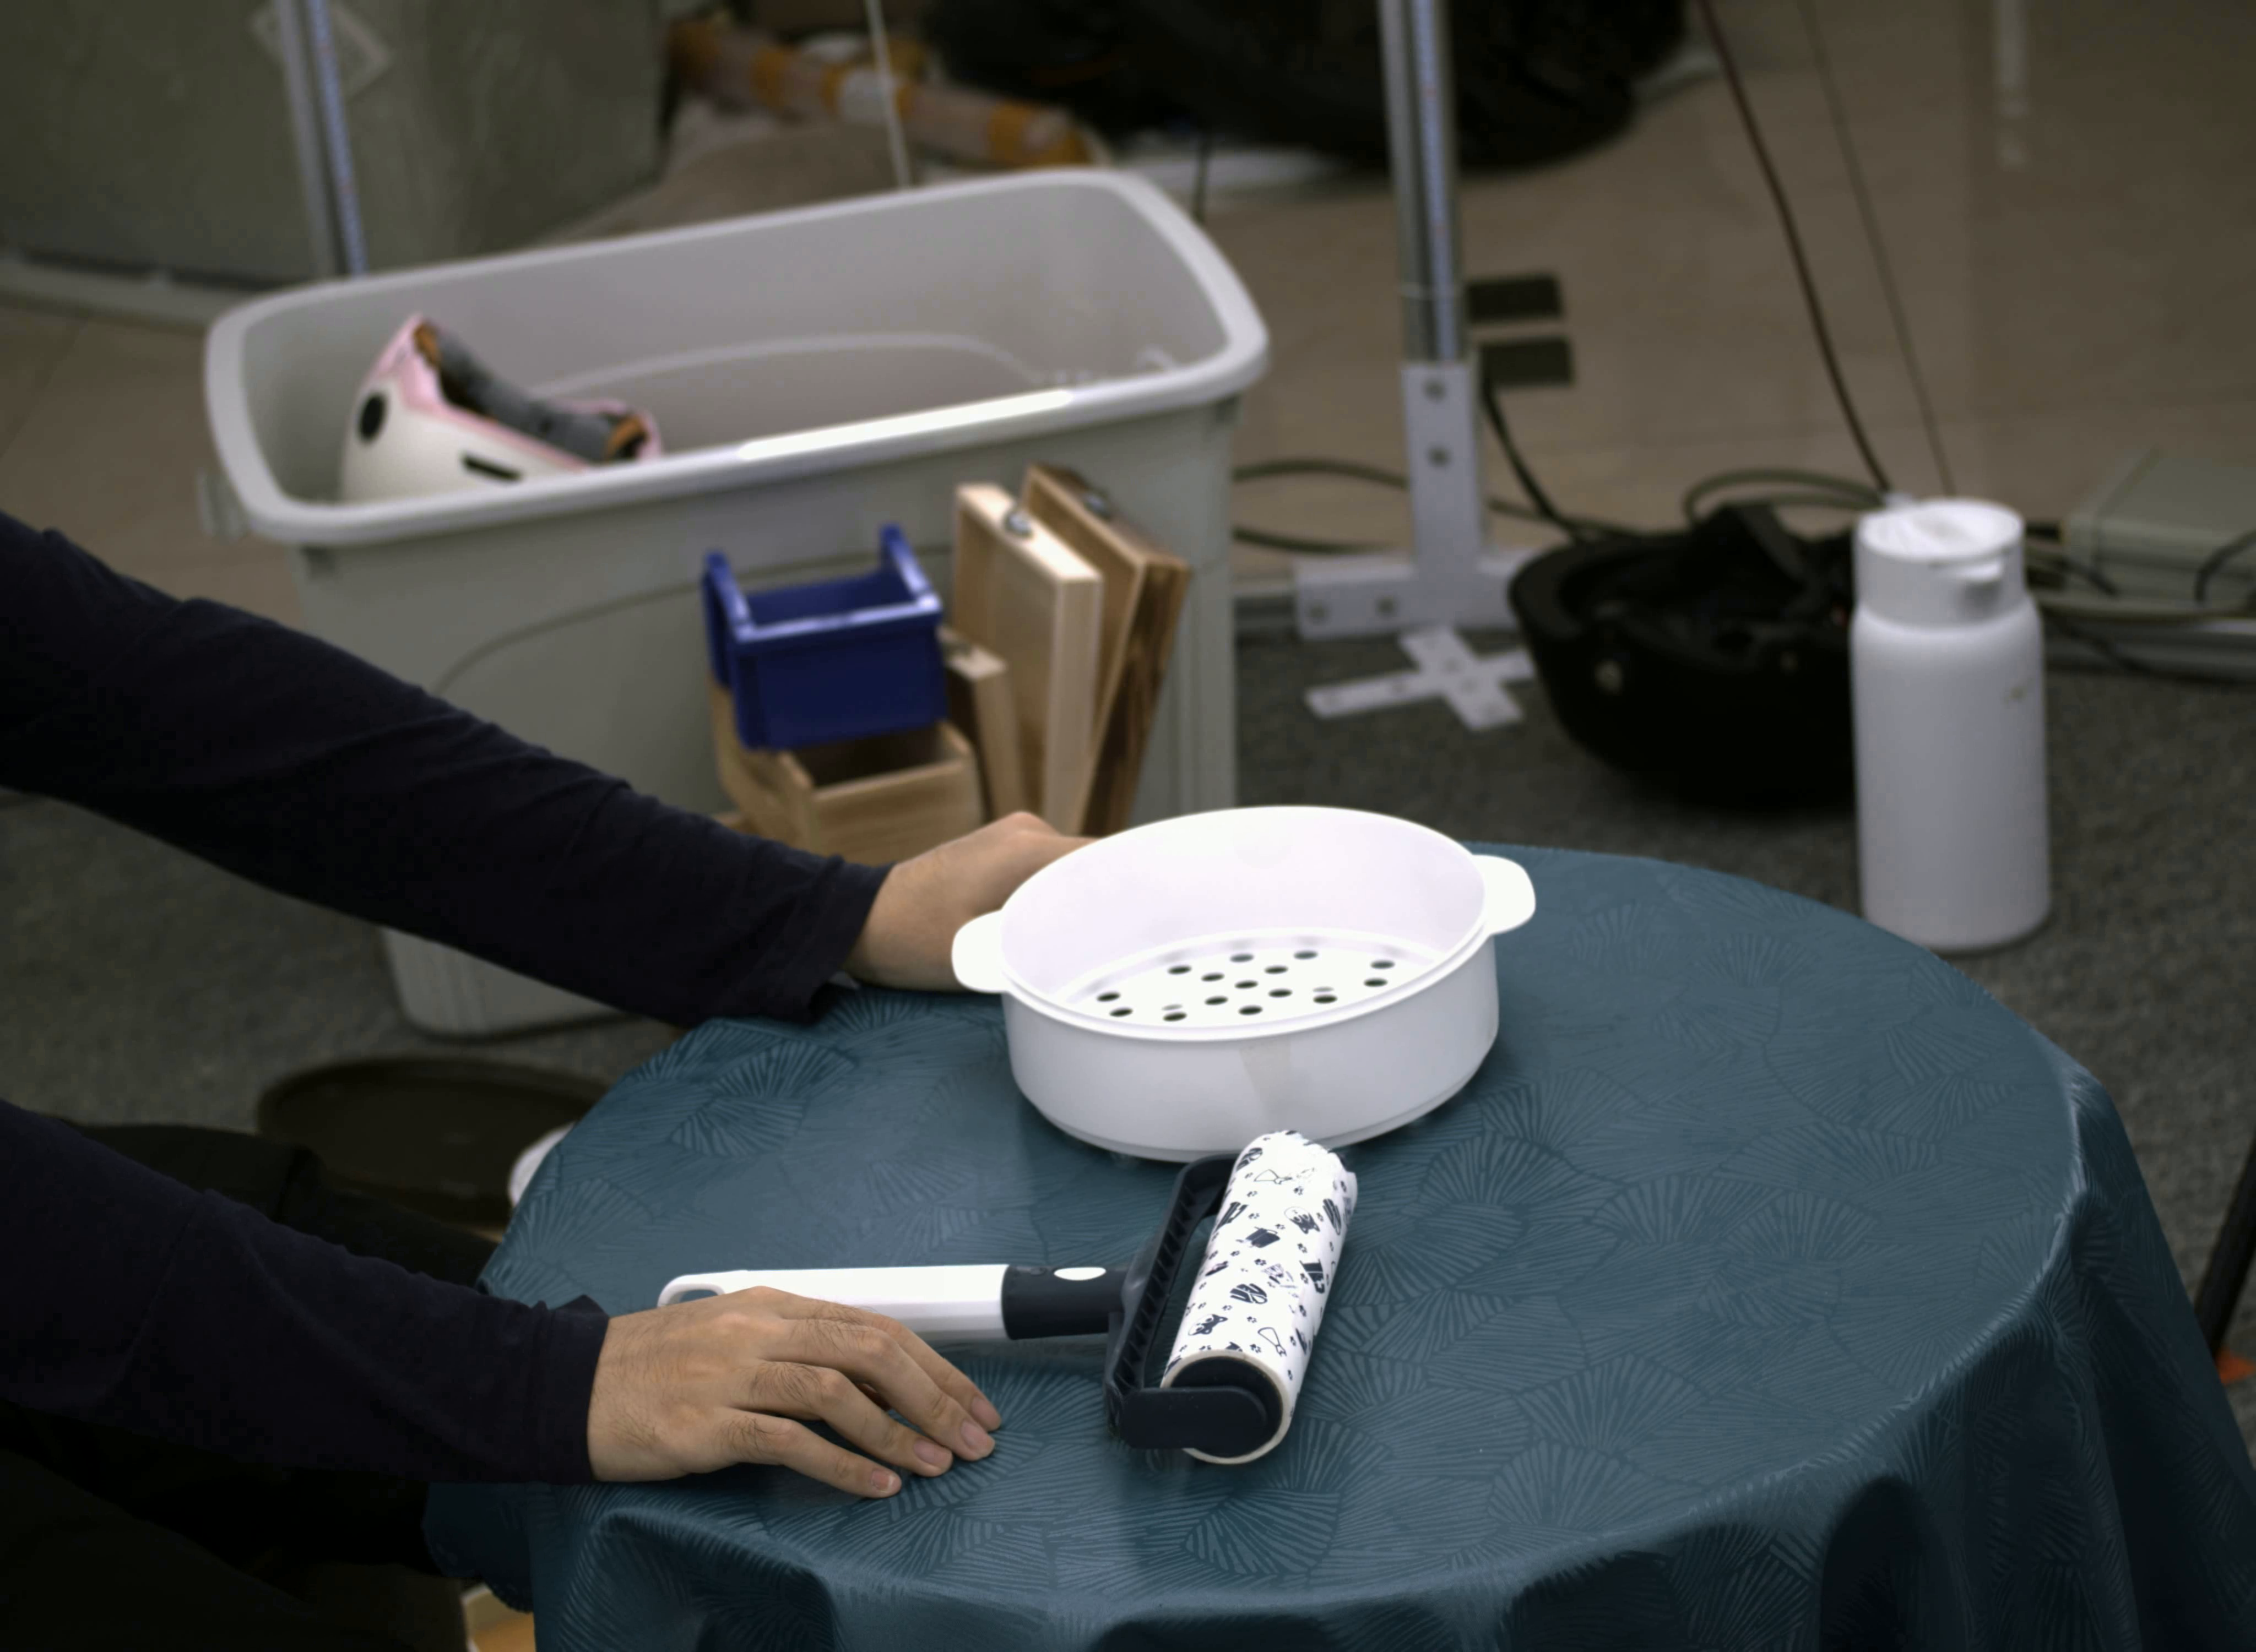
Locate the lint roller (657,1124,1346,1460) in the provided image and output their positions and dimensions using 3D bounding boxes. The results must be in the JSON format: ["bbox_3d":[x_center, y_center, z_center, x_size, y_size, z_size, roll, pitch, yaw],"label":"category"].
[{"bbox_3d":[-0.053,0.172,2.045,0.247,0.051,0.173,-4,25,12],"label":"lint roller"}]

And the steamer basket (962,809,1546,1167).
[{"bbox_3d":[0.053,0.064,2.223,0.230,0.070,0.199,-9,24,1],"label":"steamer basket"}]
